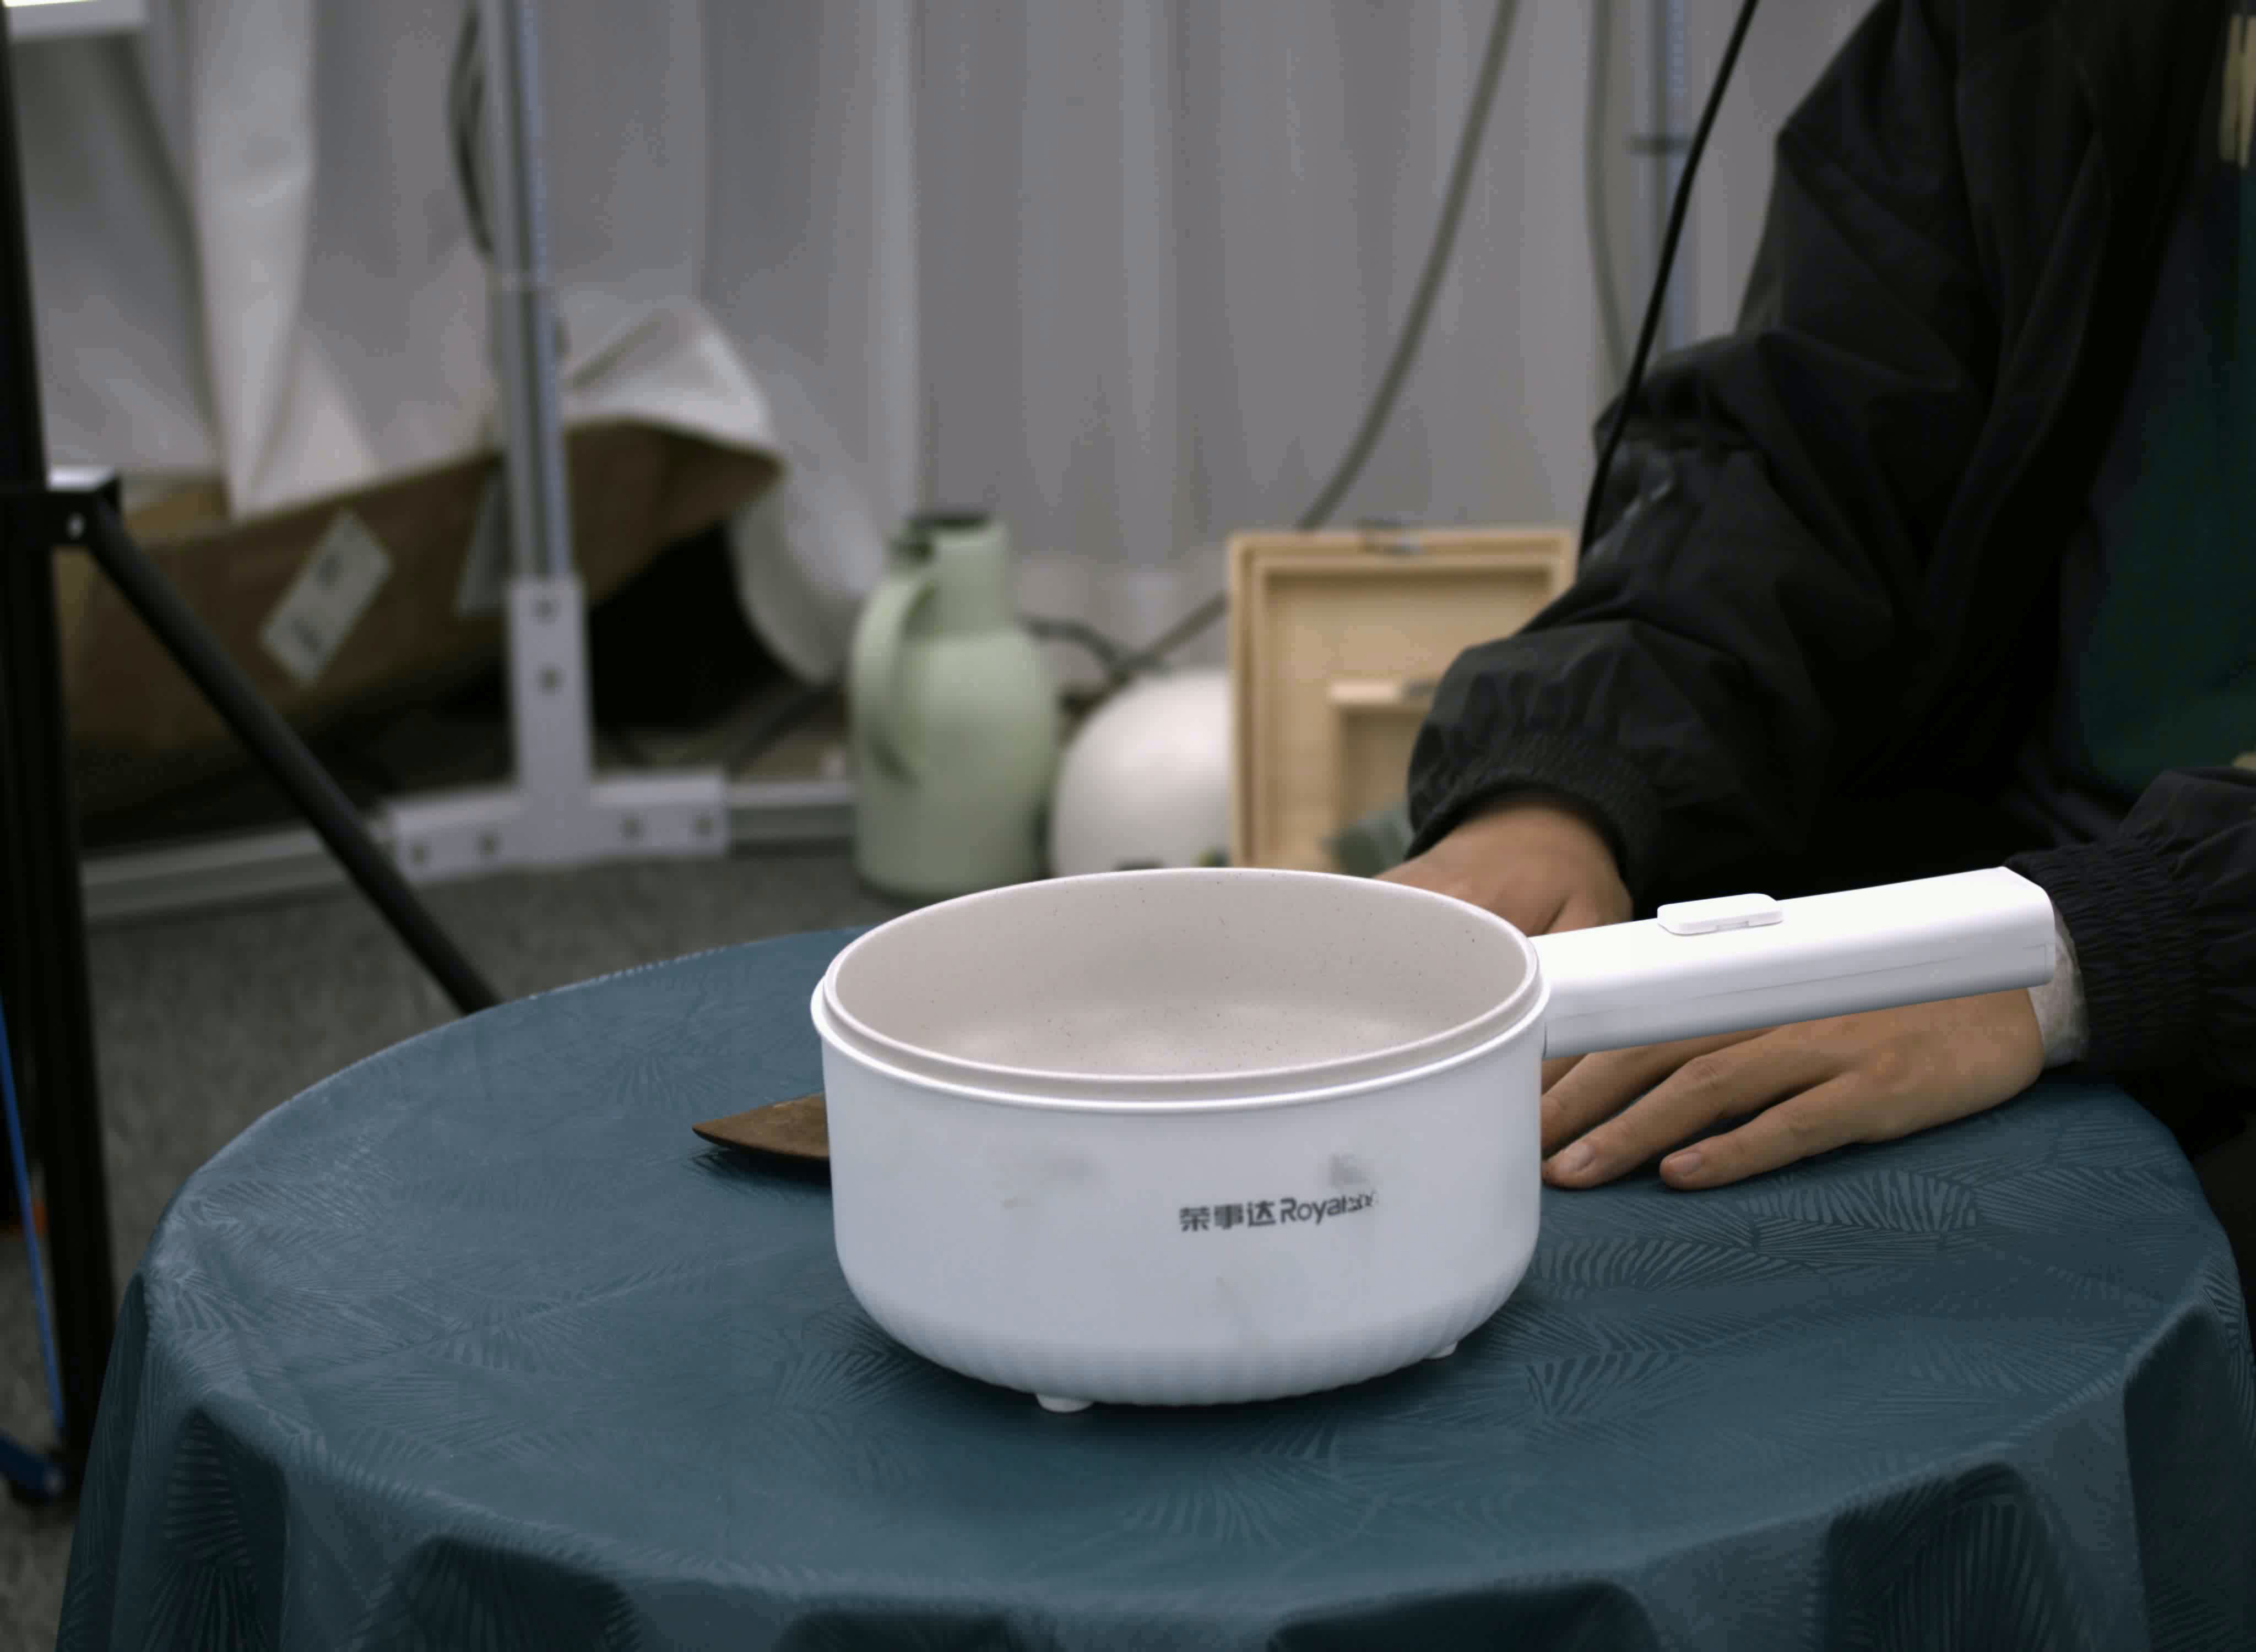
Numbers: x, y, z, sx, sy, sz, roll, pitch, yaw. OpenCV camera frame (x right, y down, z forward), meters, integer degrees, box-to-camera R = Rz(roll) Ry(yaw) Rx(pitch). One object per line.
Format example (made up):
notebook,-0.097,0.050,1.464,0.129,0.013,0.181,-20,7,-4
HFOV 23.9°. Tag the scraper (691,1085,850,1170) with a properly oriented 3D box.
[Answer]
scraper,-0.049,0.076,1.666,0.077,0.011,0.207,9,18,32

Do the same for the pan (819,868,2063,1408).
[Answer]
pan,0.090,0.080,1.467,0.349,0.102,0.204,-5,15,-15
